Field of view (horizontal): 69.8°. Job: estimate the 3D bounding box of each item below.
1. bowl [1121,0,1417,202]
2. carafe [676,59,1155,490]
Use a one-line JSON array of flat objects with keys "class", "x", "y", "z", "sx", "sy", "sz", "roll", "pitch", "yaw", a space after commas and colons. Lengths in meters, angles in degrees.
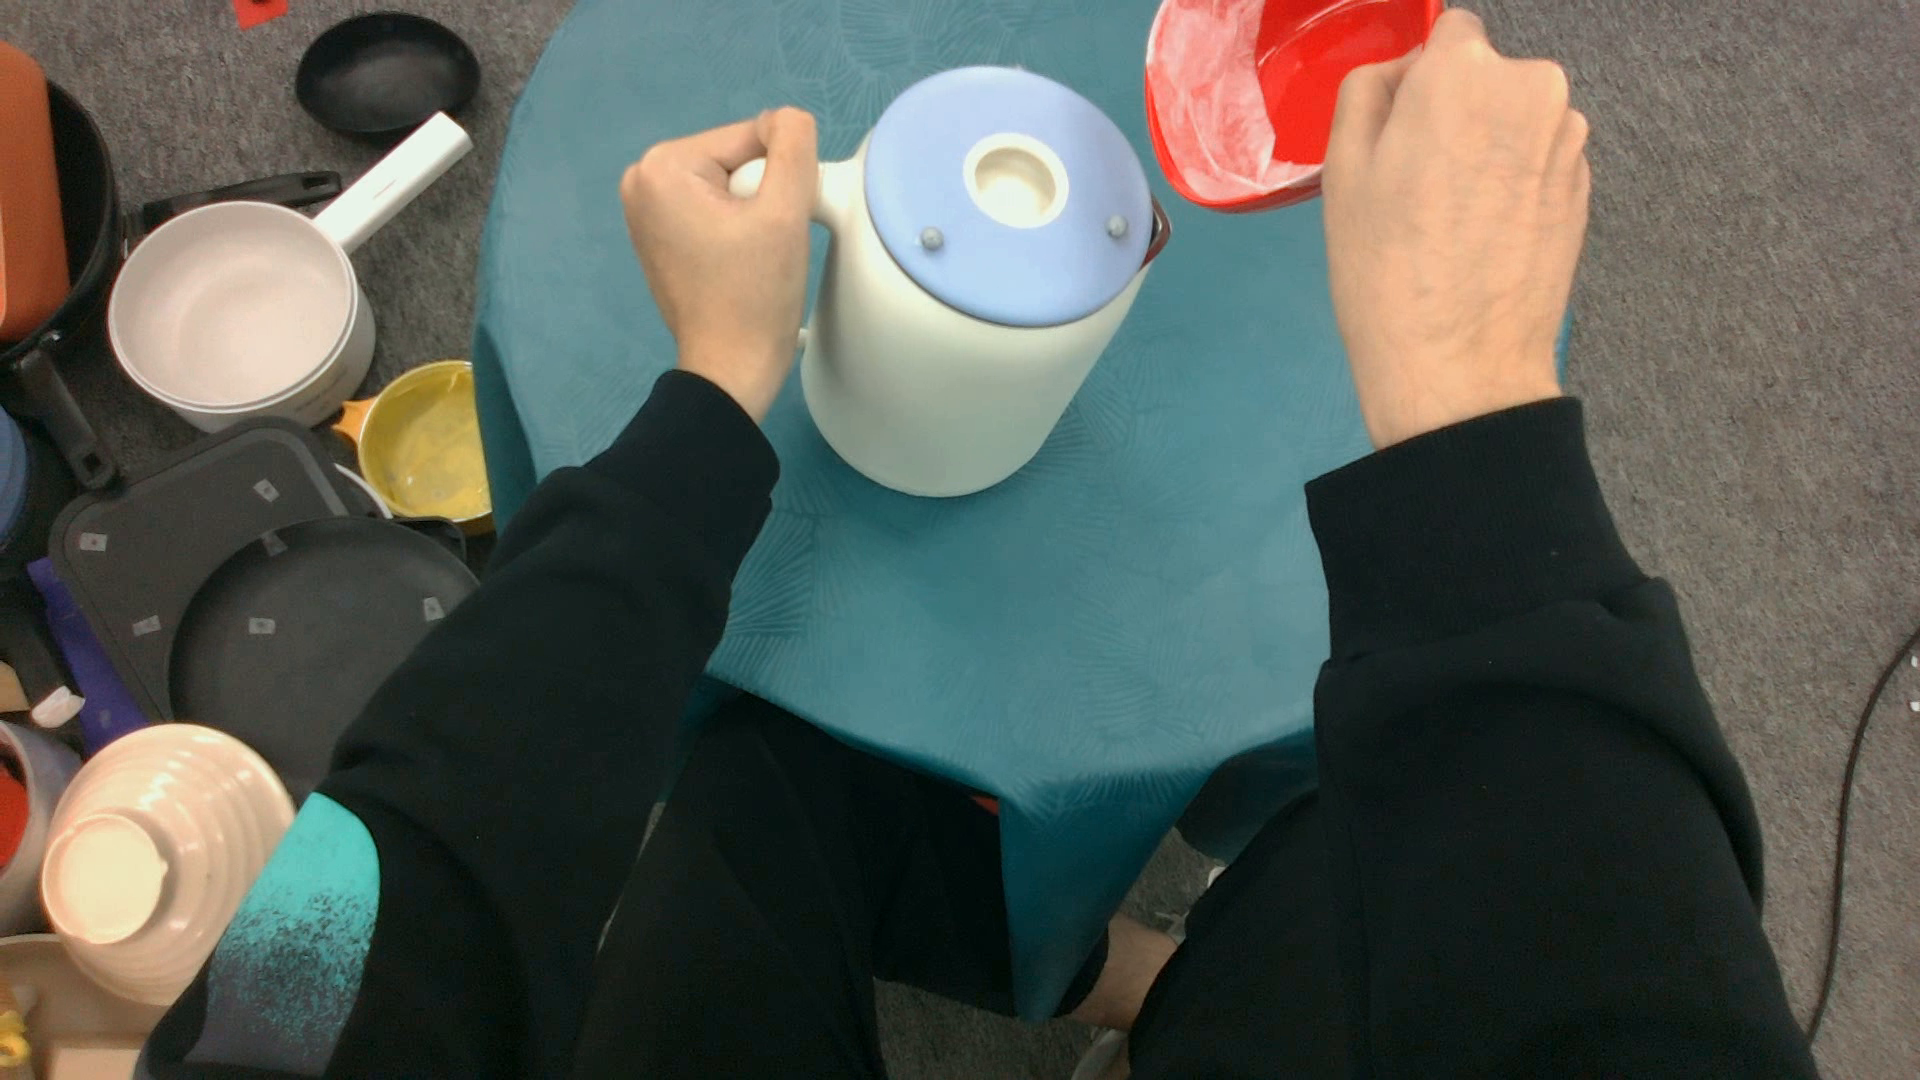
[{"class": "bowl", "x": 0.118, "y": -0.171, "z": 0.499, "sx": 0.051, "sy": 0.118, "sz": 0.119, "roll": 19, "pitch": 61, "yaw": -46}, {"class": "carafe", "x": -0.029, "y": -0.115, "z": 0.616, "sx": 0.191, "sy": 0.182, "sz": 0.132, "roll": 6, "pitch": 66, "yaw": -10}]
